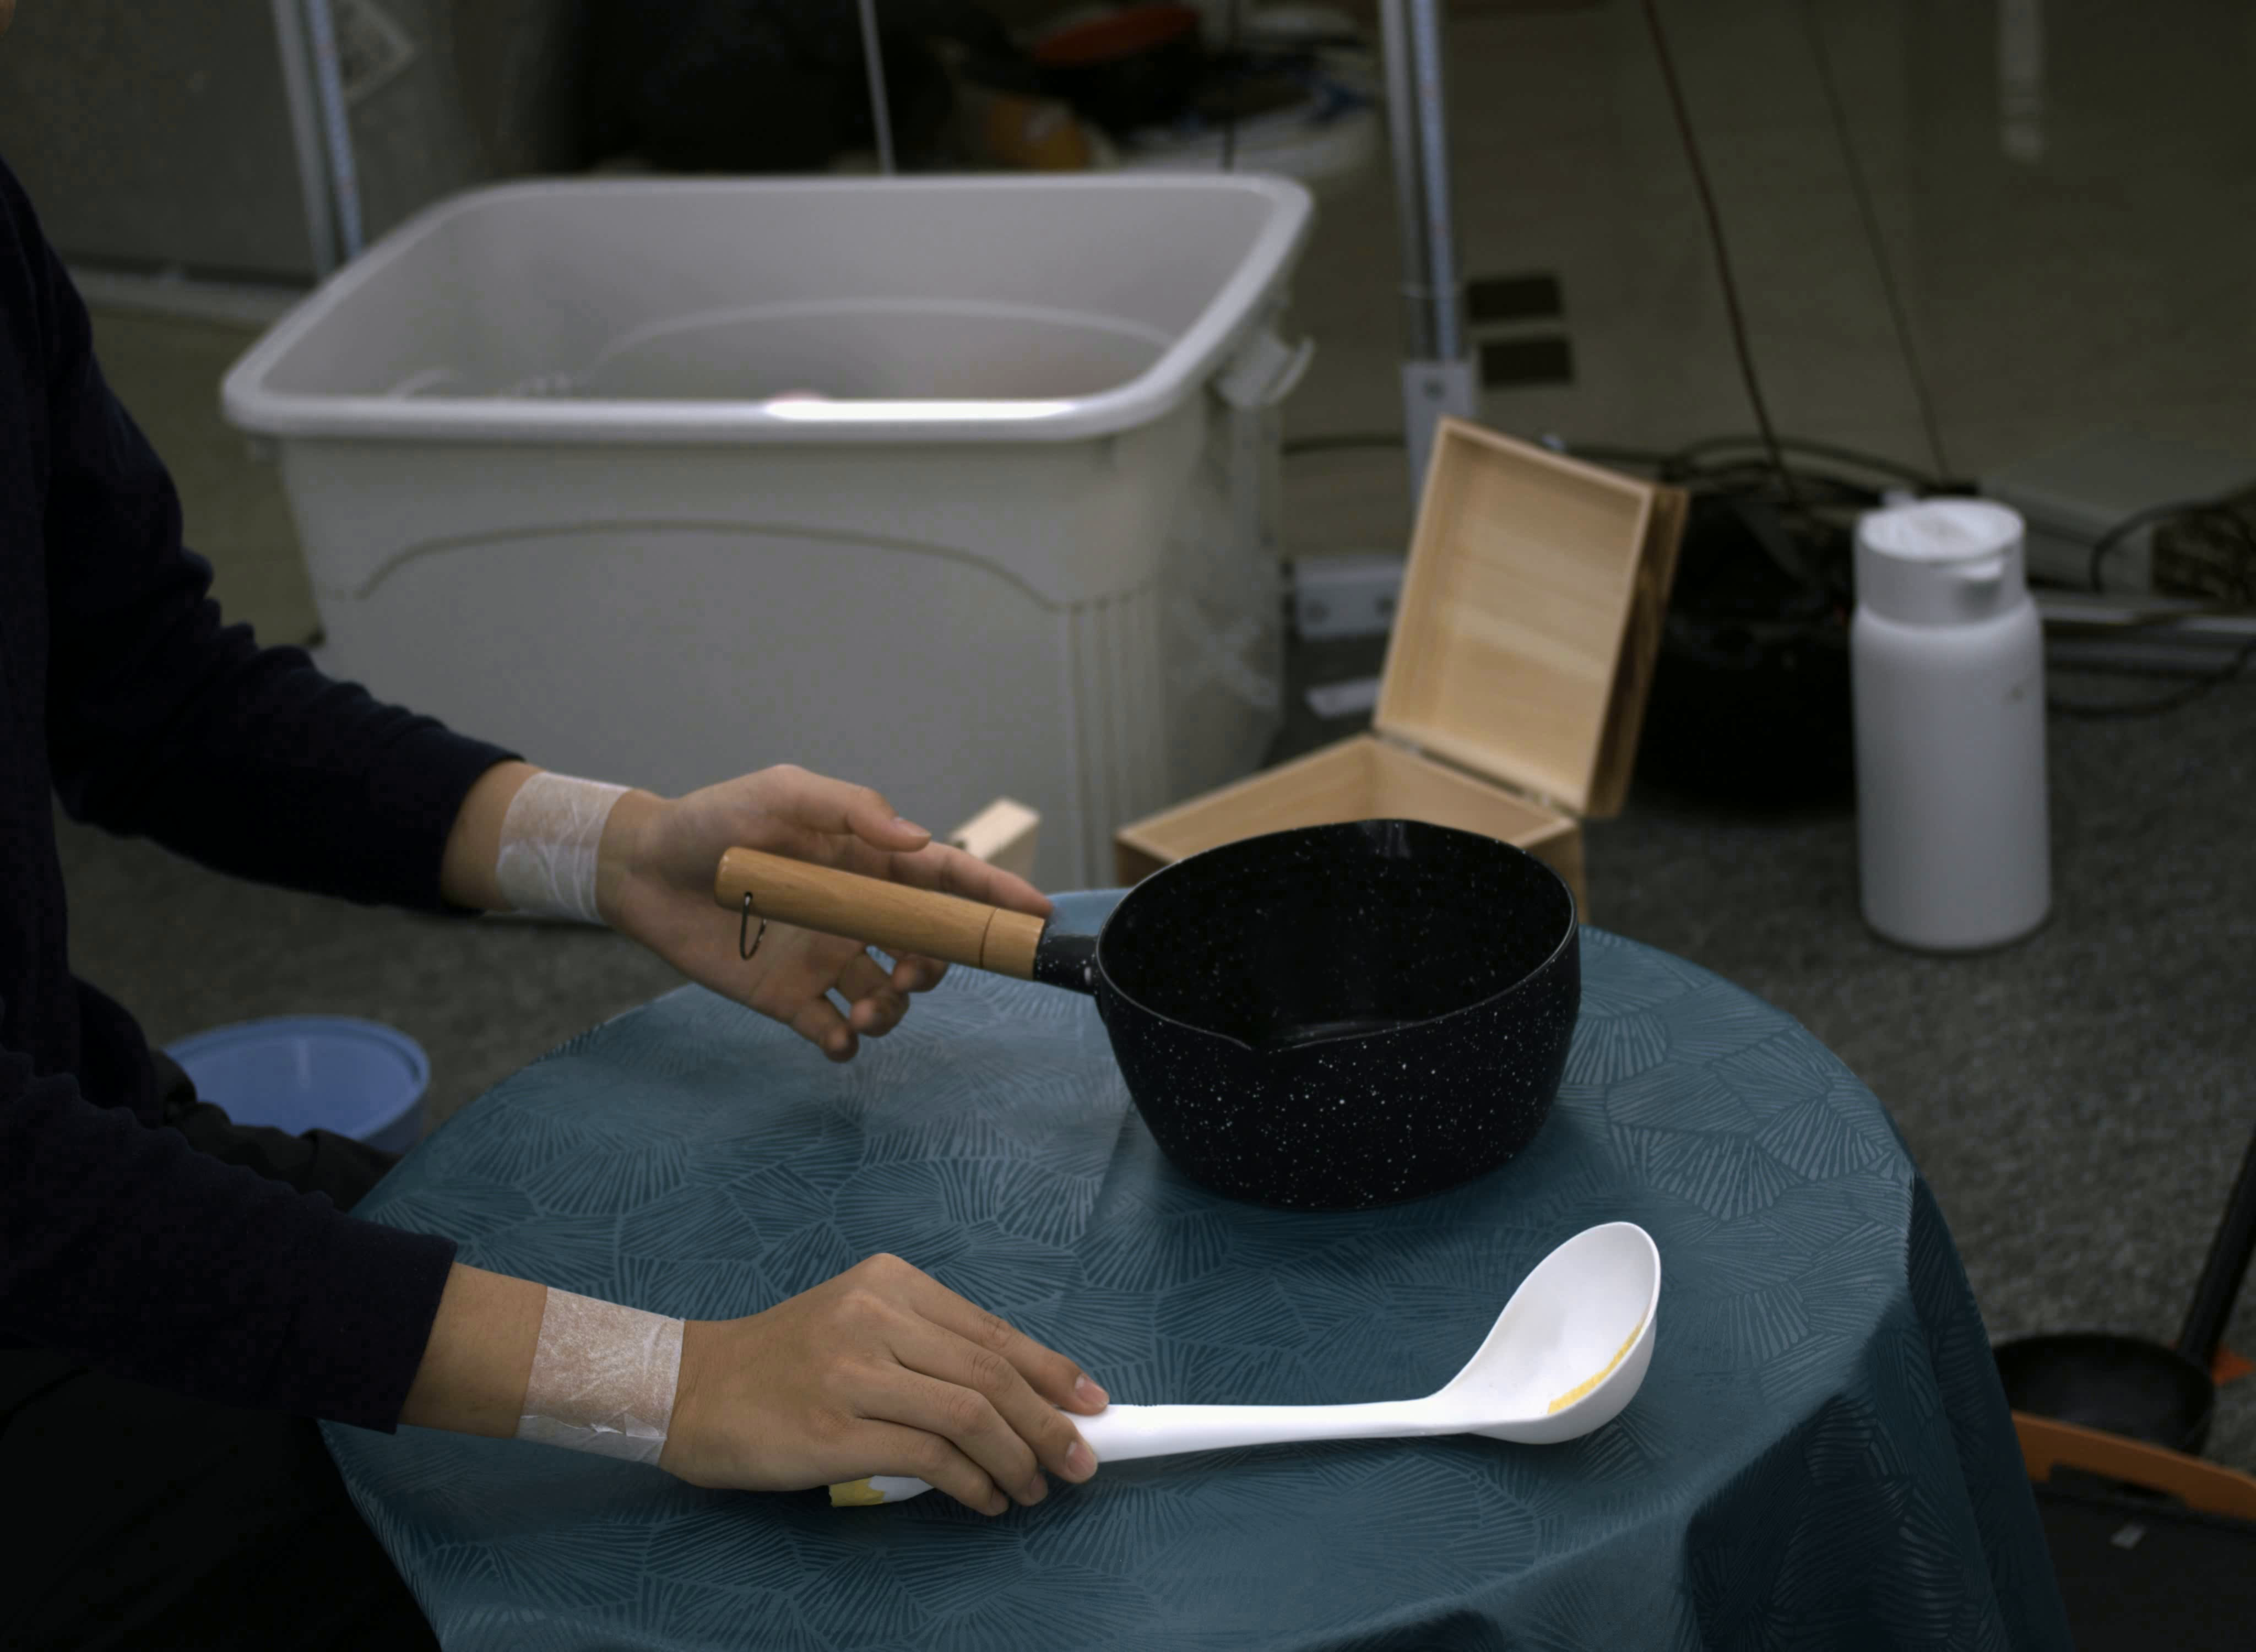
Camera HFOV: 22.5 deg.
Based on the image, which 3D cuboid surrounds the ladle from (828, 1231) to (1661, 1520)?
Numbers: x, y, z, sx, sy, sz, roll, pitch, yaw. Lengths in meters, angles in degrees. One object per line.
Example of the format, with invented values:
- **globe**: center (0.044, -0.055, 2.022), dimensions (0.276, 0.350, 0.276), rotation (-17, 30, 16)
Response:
- **ladle**: center (0.039, 0.194, 1.945), dimensions (0.292, 0.071, 0.088), rotation (-6, 38, 3)

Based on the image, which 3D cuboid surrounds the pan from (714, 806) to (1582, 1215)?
- **pan**: center (0.005, 0.063, 2.178), dimensions (0.342, 0.110, 0.204), rotation (2, 27, 15)
